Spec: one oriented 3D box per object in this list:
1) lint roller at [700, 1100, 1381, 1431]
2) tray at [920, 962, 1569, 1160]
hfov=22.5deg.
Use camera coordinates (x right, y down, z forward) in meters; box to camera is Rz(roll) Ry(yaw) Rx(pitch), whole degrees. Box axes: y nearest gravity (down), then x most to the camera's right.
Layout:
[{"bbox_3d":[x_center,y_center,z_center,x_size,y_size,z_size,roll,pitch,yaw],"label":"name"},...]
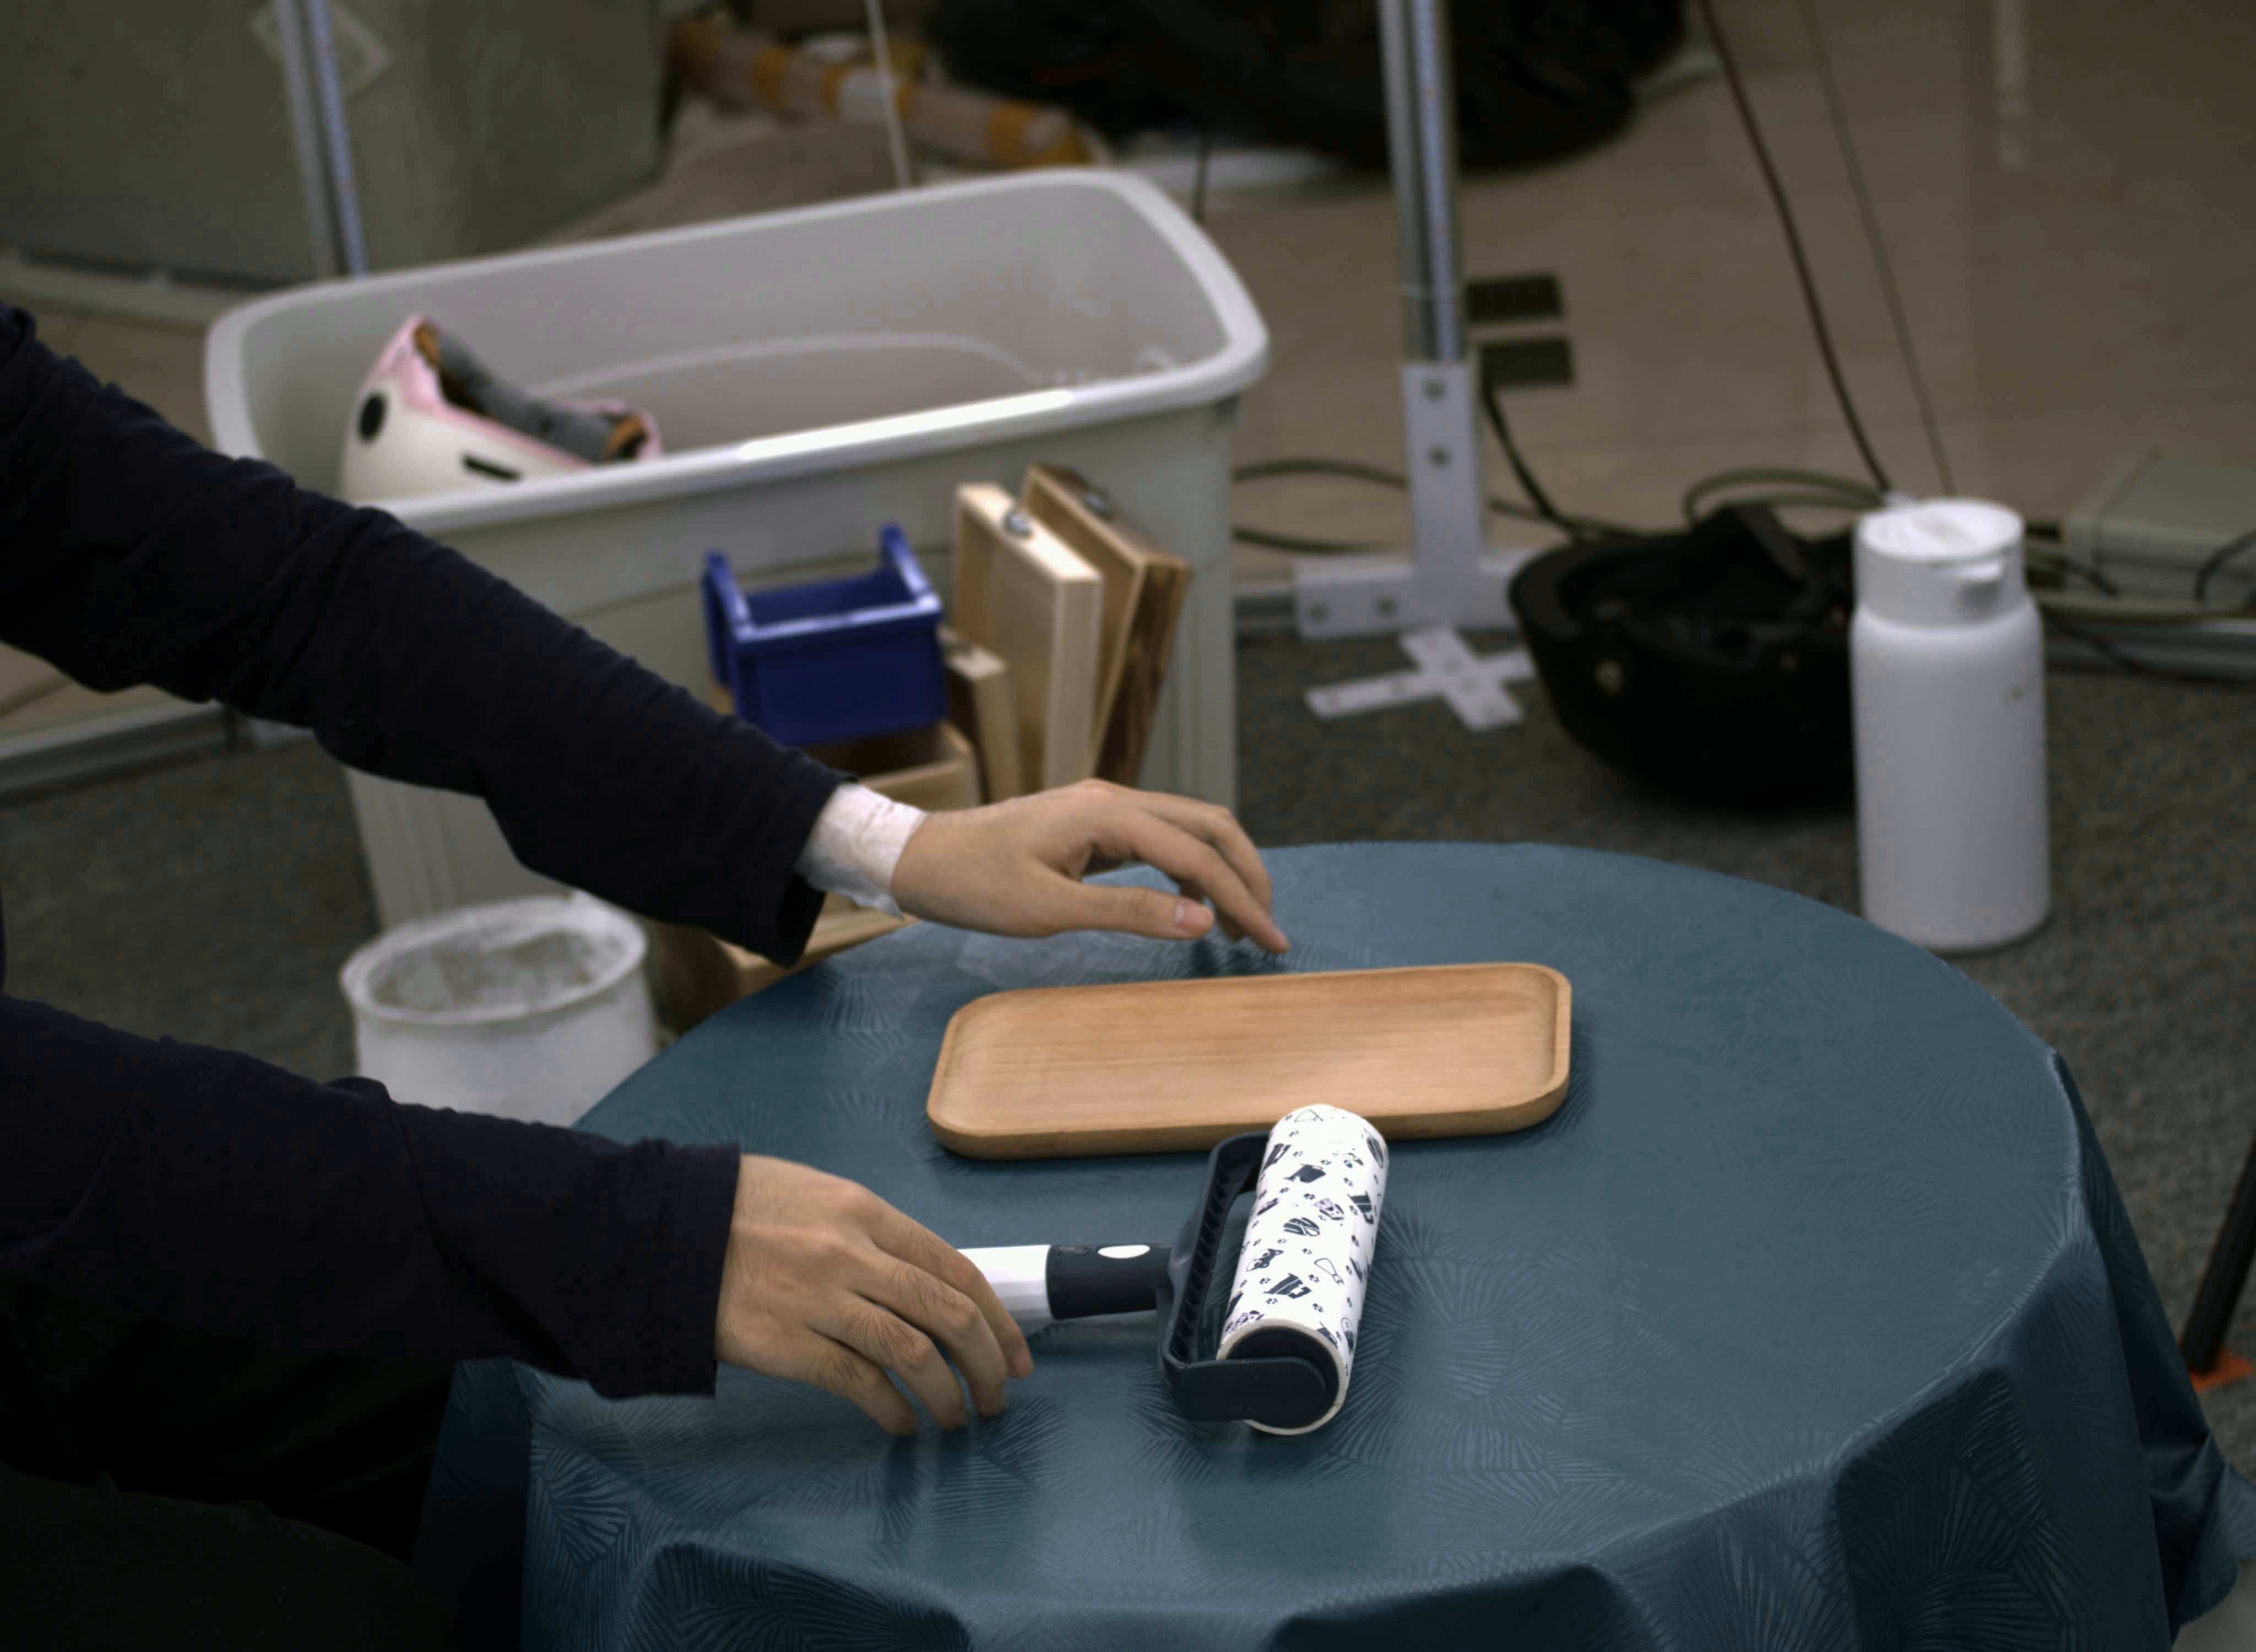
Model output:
[{"bbox_3d":[-0.037,0.166,2.055,0.247,0.051,0.173,-5,25,10],"label":"lint roller"},{"bbox_3d":[0.047,0.092,2.222,0.250,0.023,0.129,-4,22,9],"label":"tray"}]
